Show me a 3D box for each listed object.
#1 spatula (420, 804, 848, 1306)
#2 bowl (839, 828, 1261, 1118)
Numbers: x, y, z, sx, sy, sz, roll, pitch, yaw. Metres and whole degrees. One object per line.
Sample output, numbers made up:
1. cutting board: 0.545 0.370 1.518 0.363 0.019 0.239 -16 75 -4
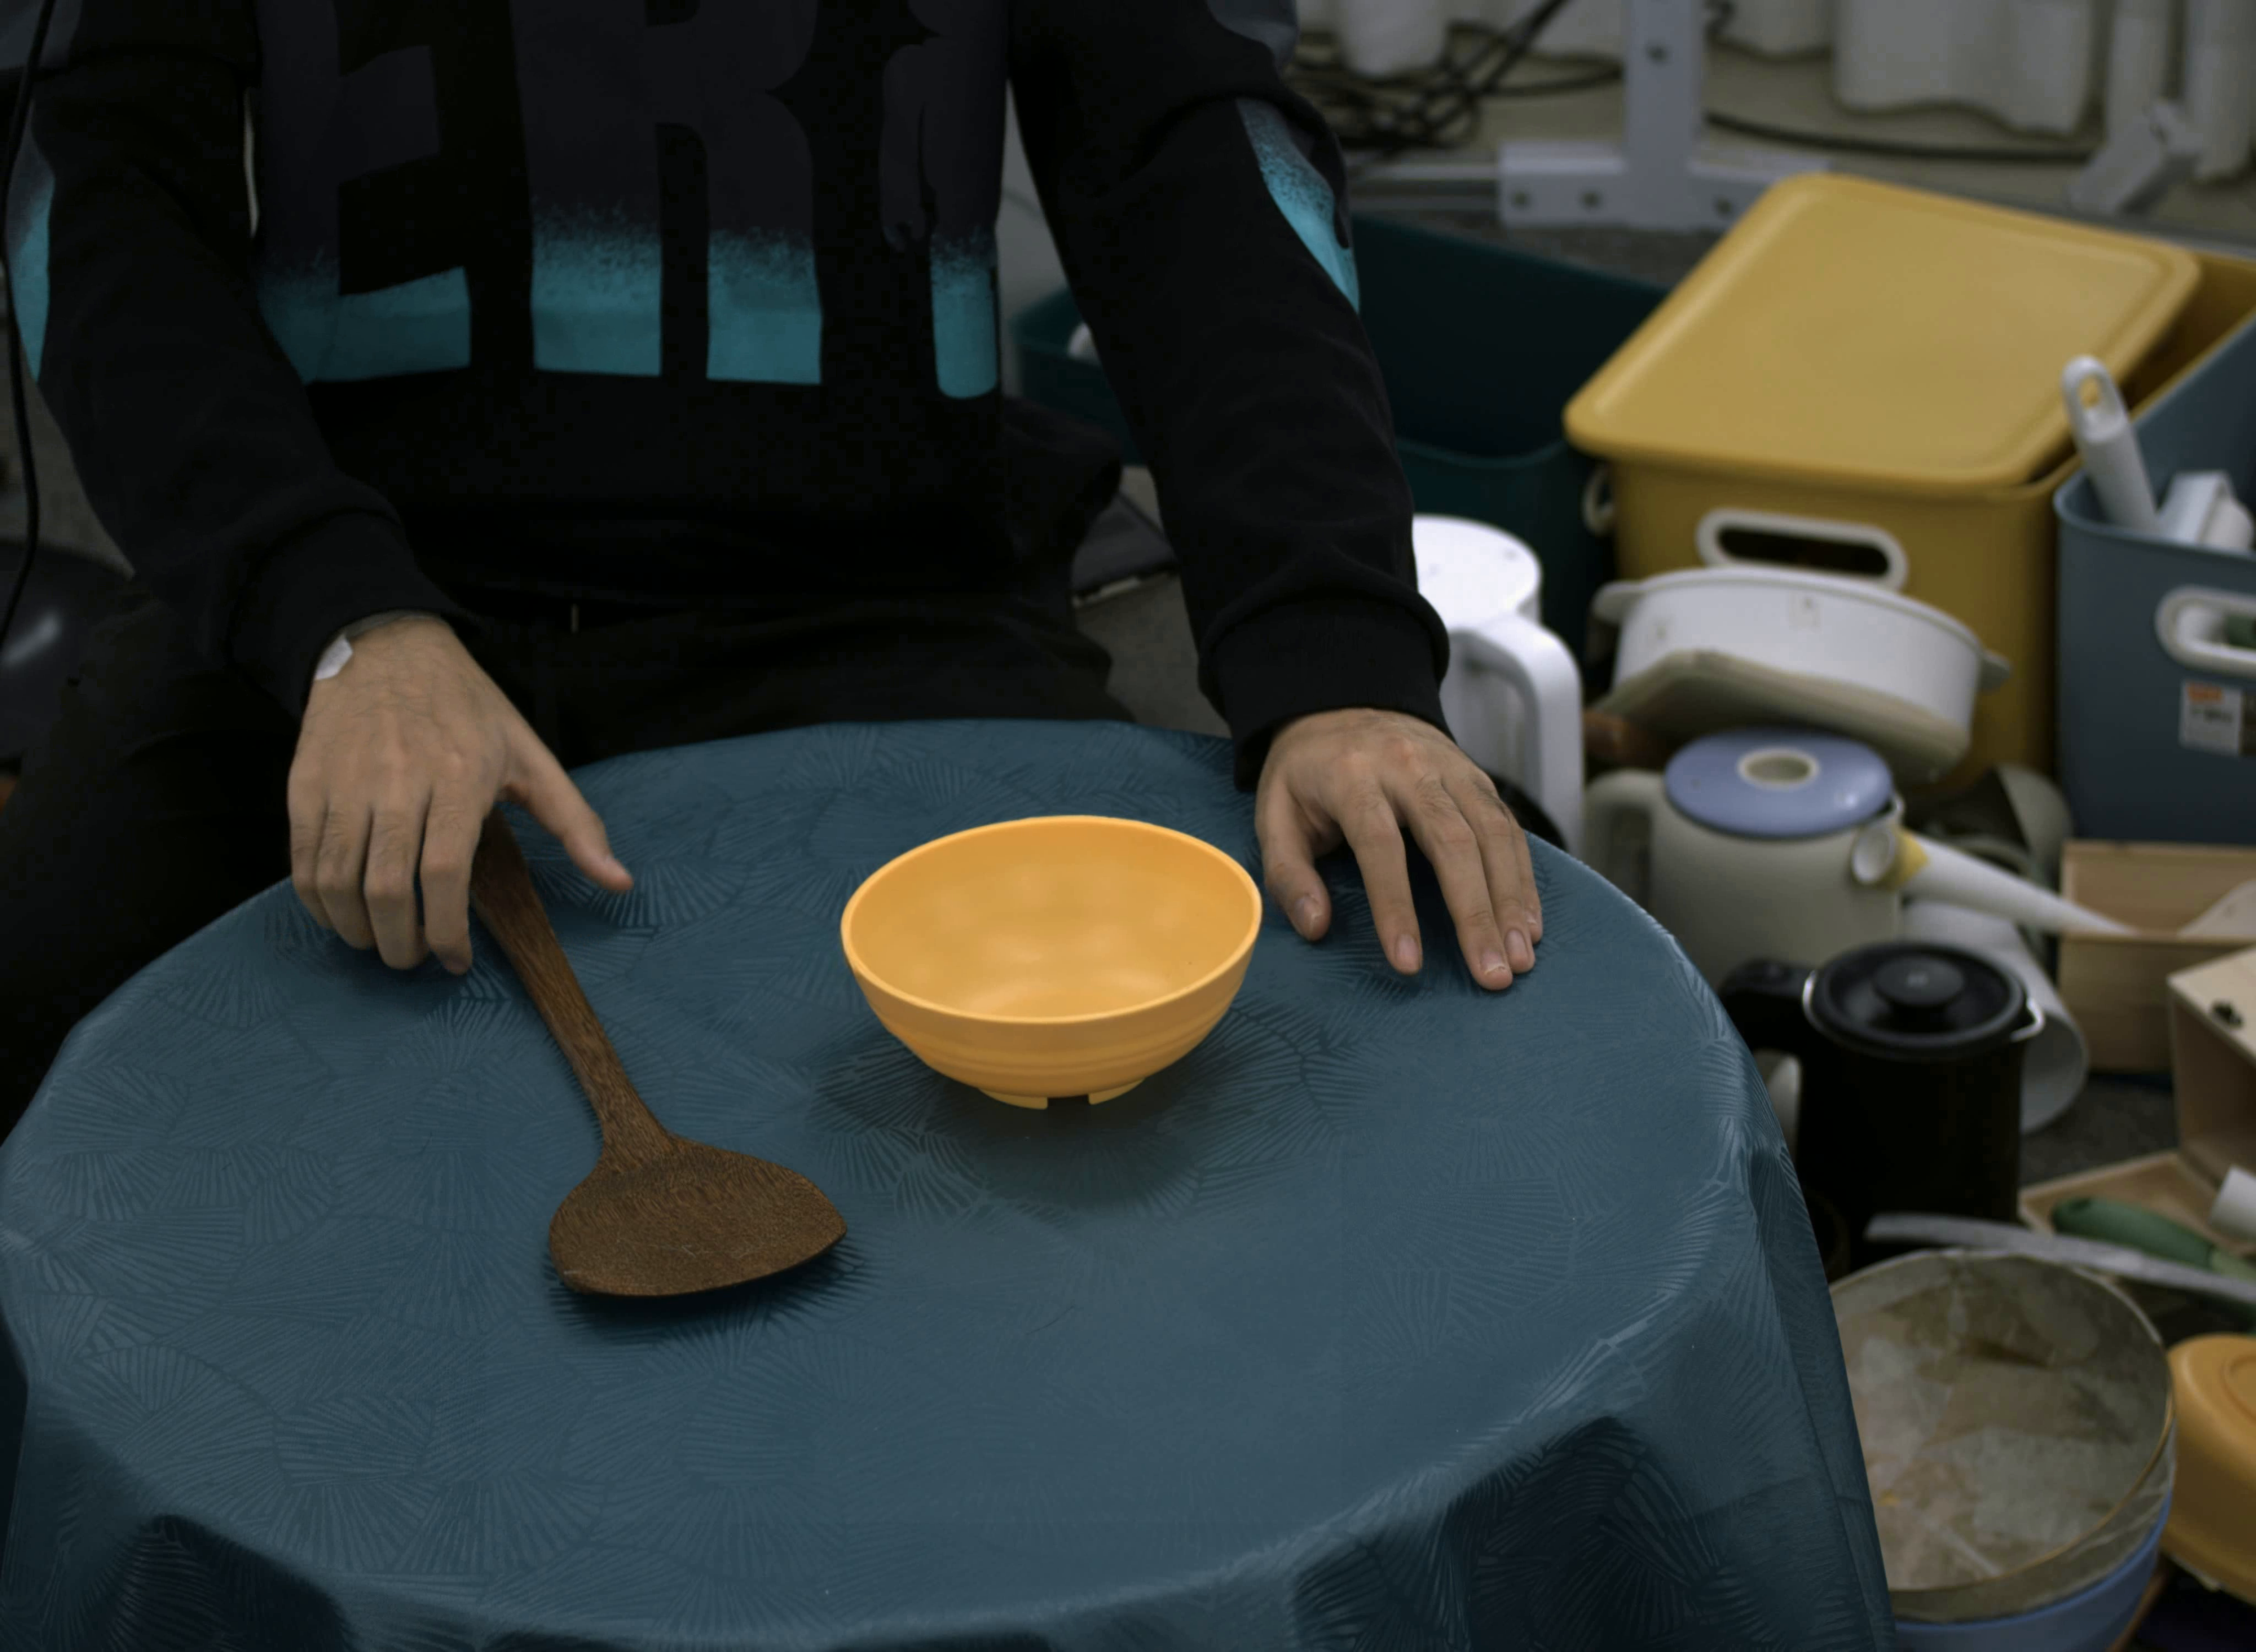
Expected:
1. spatula: -0.193 0.072 1.963 0.096 0.015 0.389 -11 28 -16
2. bowl: -0.026 0.059 1.927 0.144 0.059 0.147 0 25 0
